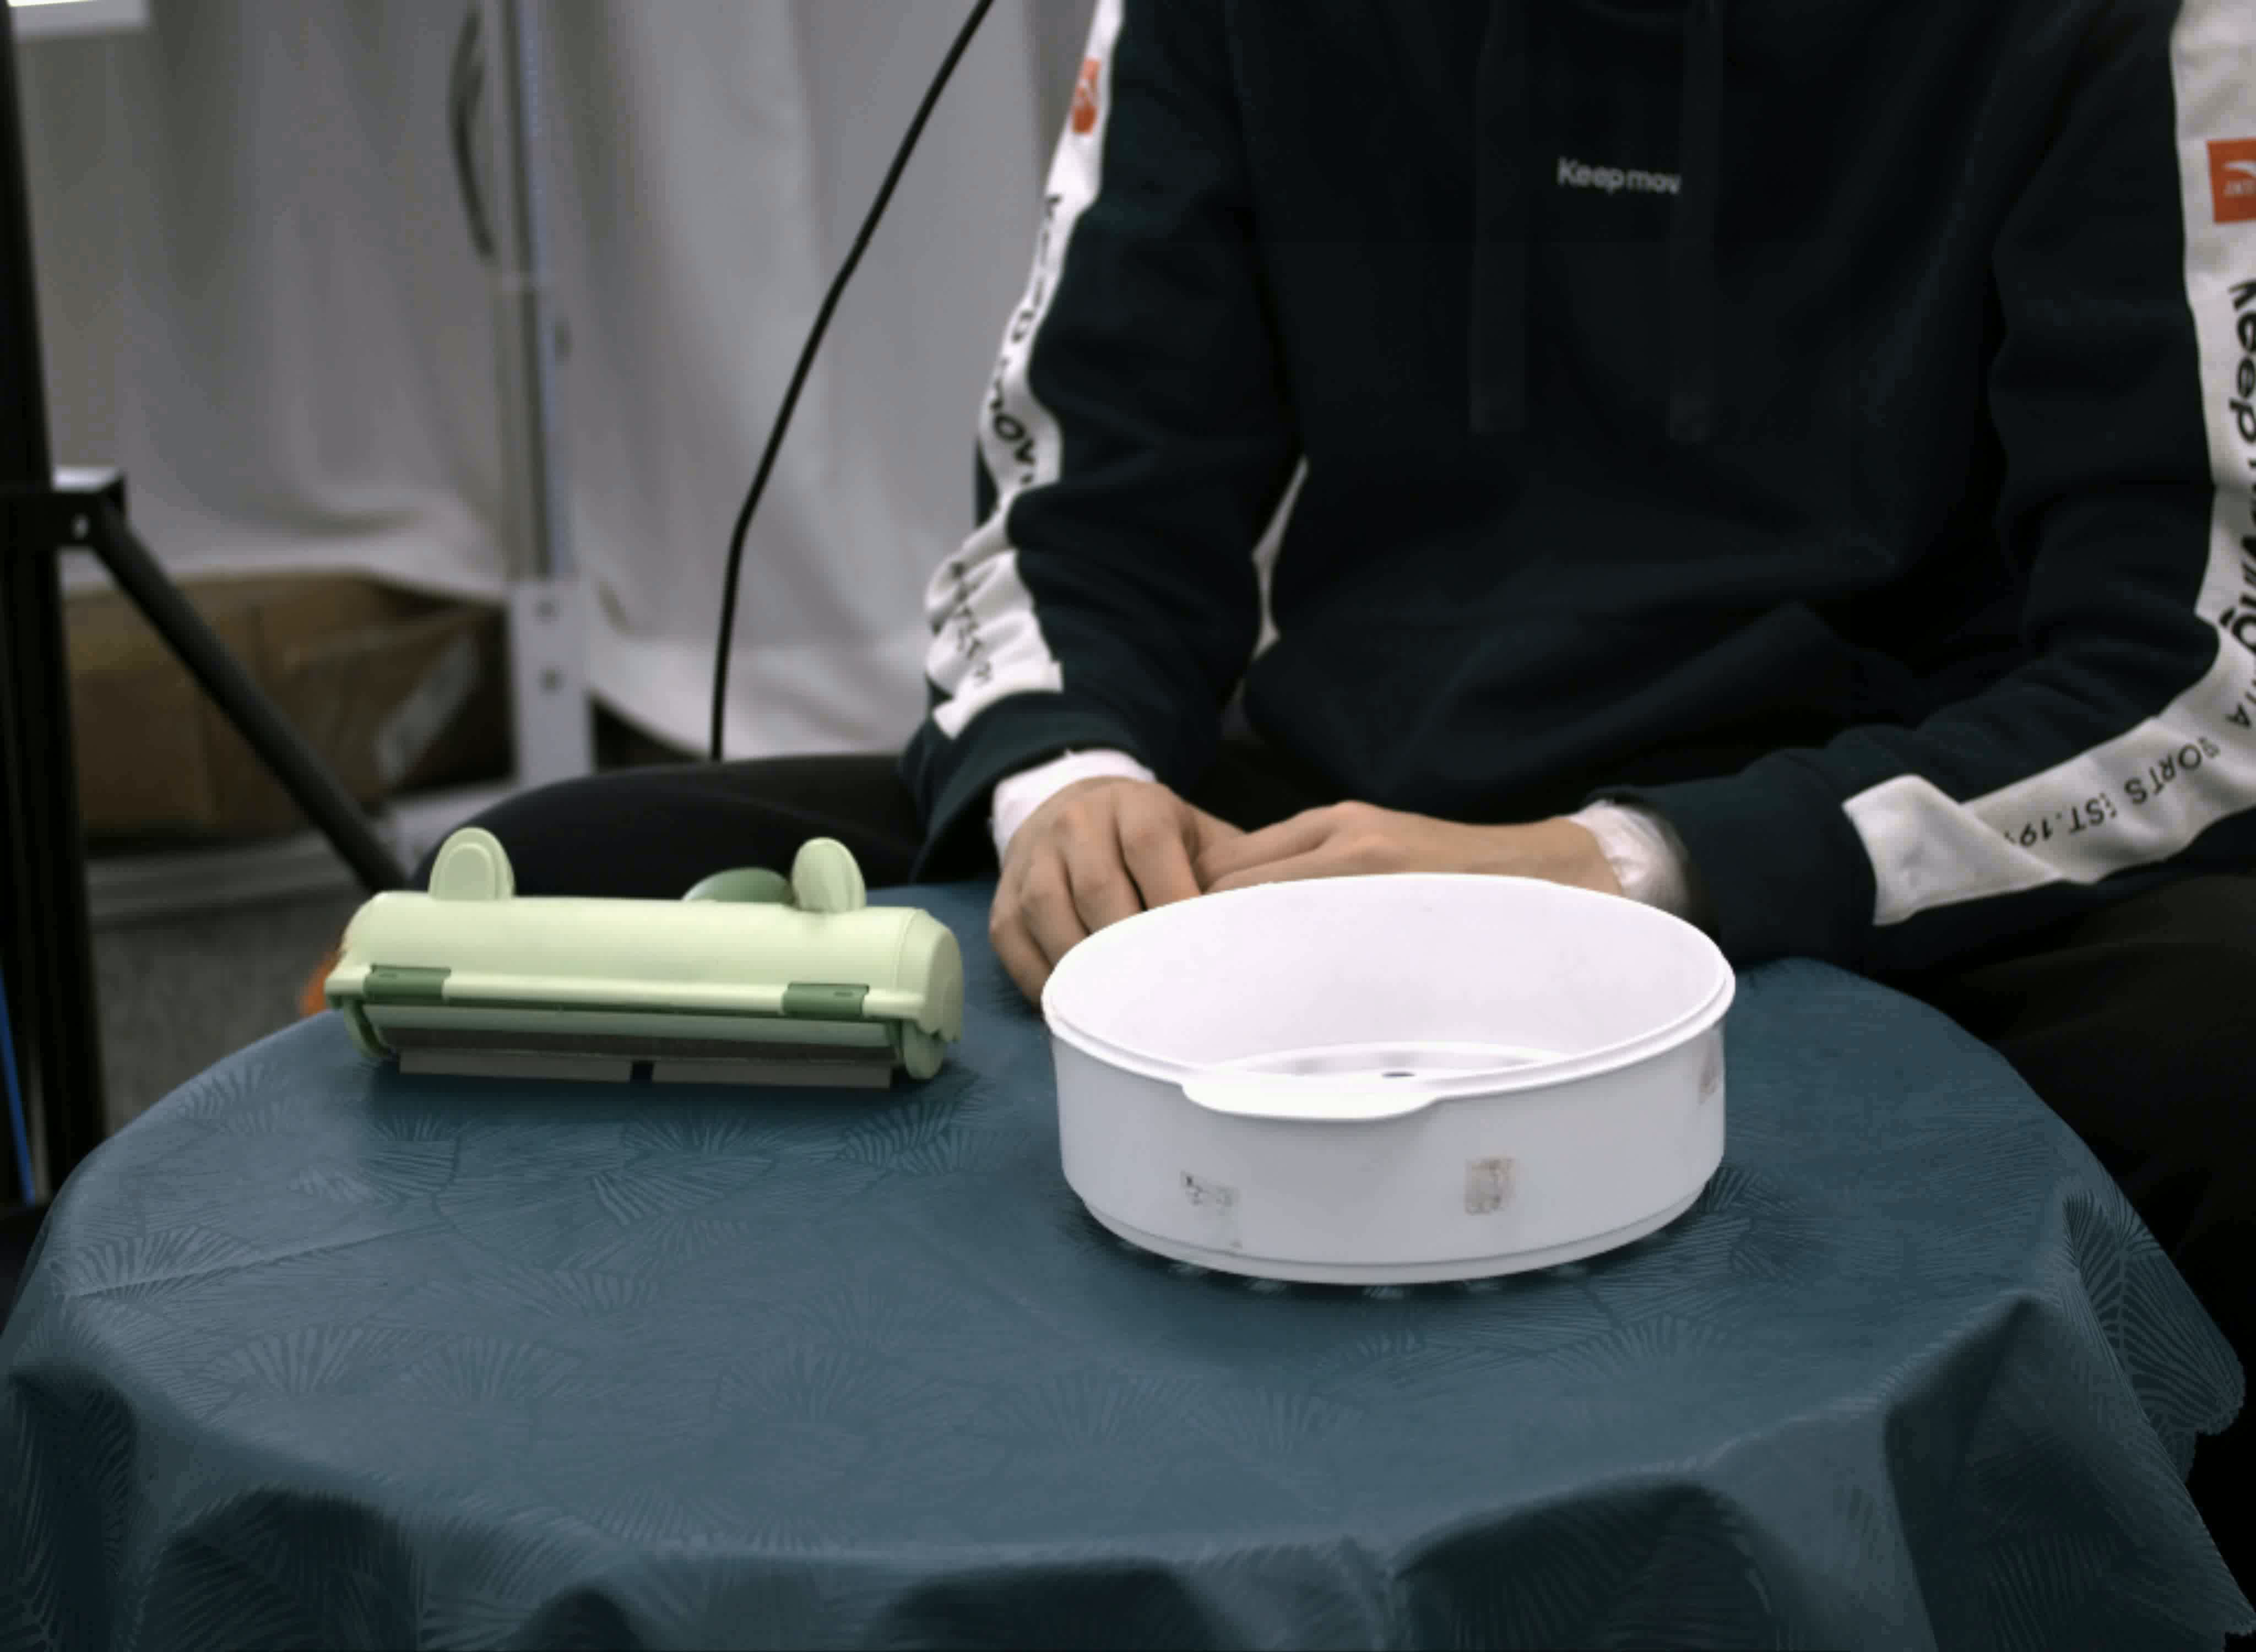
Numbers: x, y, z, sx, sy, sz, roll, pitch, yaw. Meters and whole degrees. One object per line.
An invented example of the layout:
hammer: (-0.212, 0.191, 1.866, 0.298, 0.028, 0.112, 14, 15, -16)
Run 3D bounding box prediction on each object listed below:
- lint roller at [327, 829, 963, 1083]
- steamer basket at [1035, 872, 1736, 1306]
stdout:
lint roller: (-0.140, 0.025, 1.733, 0.200, 0.082, 0.182, 1, 20, 14)
steamer basket: (0.076, 0.076, 1.534, 0.204, 0.069, 0.229, 1, 18, 17)
